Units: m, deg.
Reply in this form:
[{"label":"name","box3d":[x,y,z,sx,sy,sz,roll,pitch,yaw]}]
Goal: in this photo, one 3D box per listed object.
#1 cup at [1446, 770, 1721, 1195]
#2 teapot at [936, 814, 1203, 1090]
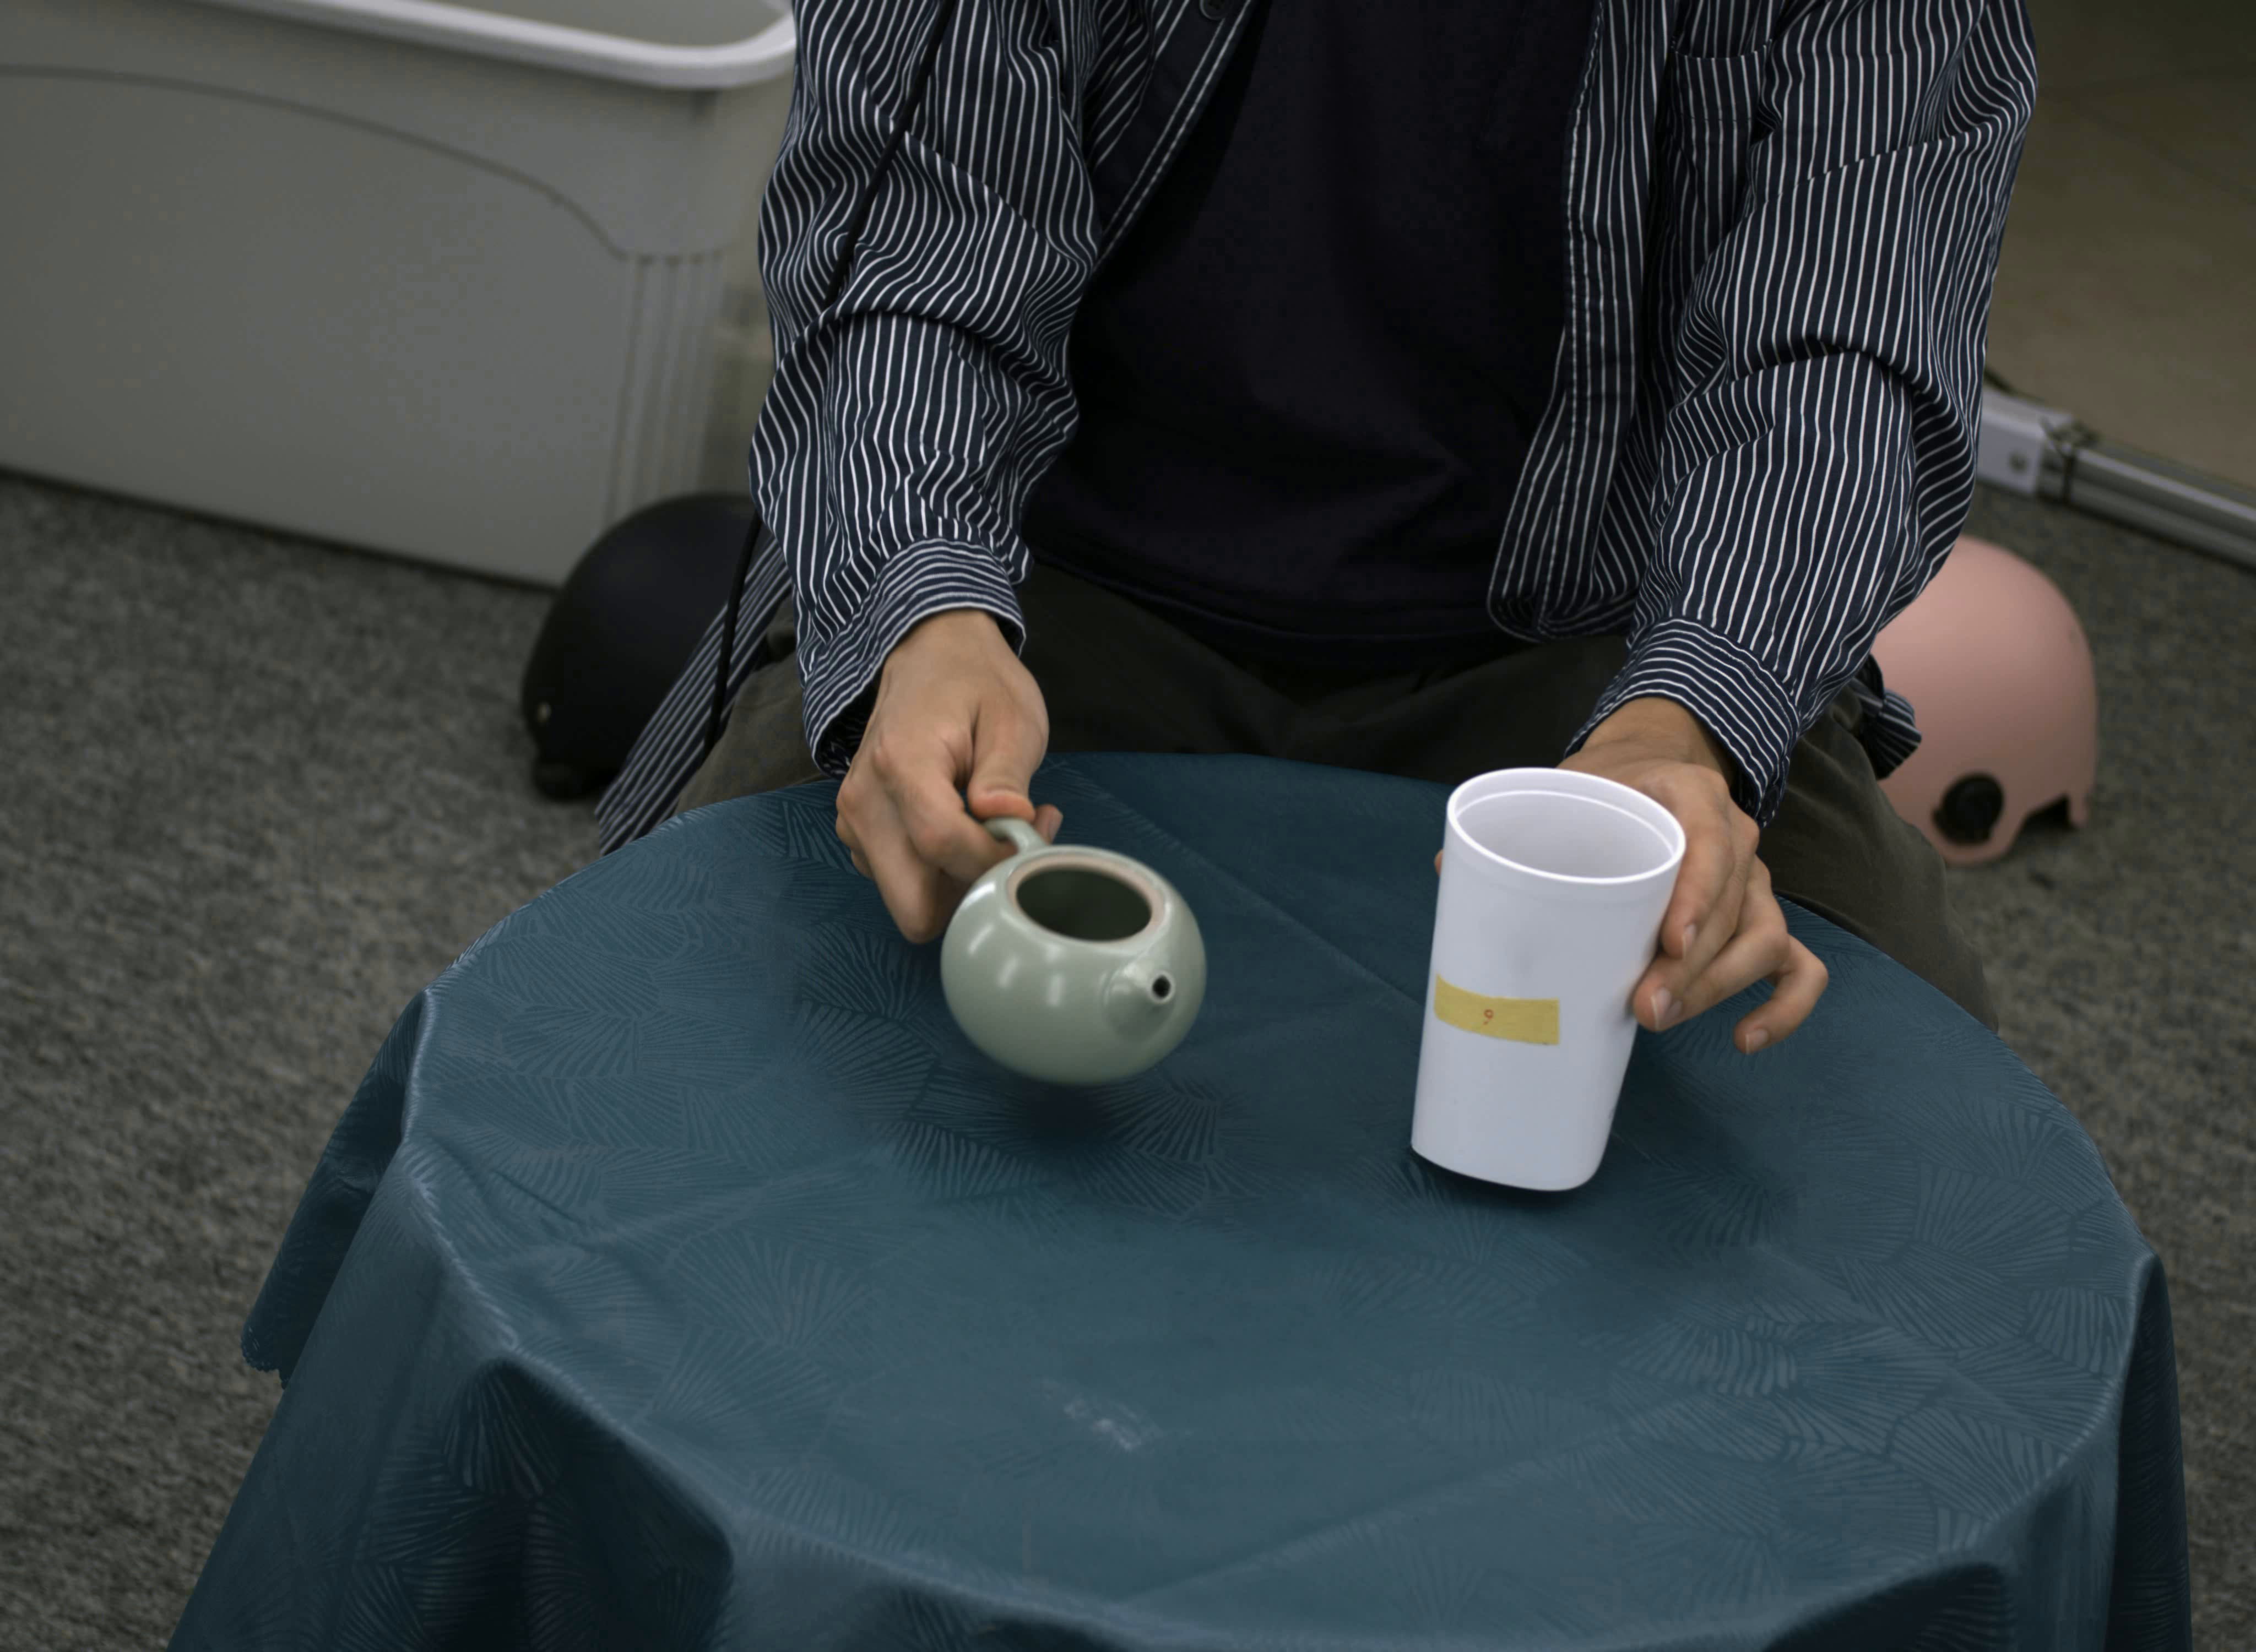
[{"label":"cup","box3d":[0.151,0.055,1.805,0.081,0.125,0.082,6,27,-3]},{"label":"teapot","box3d":[-0.024,0.044,1.824,0.091,0.061,0.130,-10,38,-24]}]
